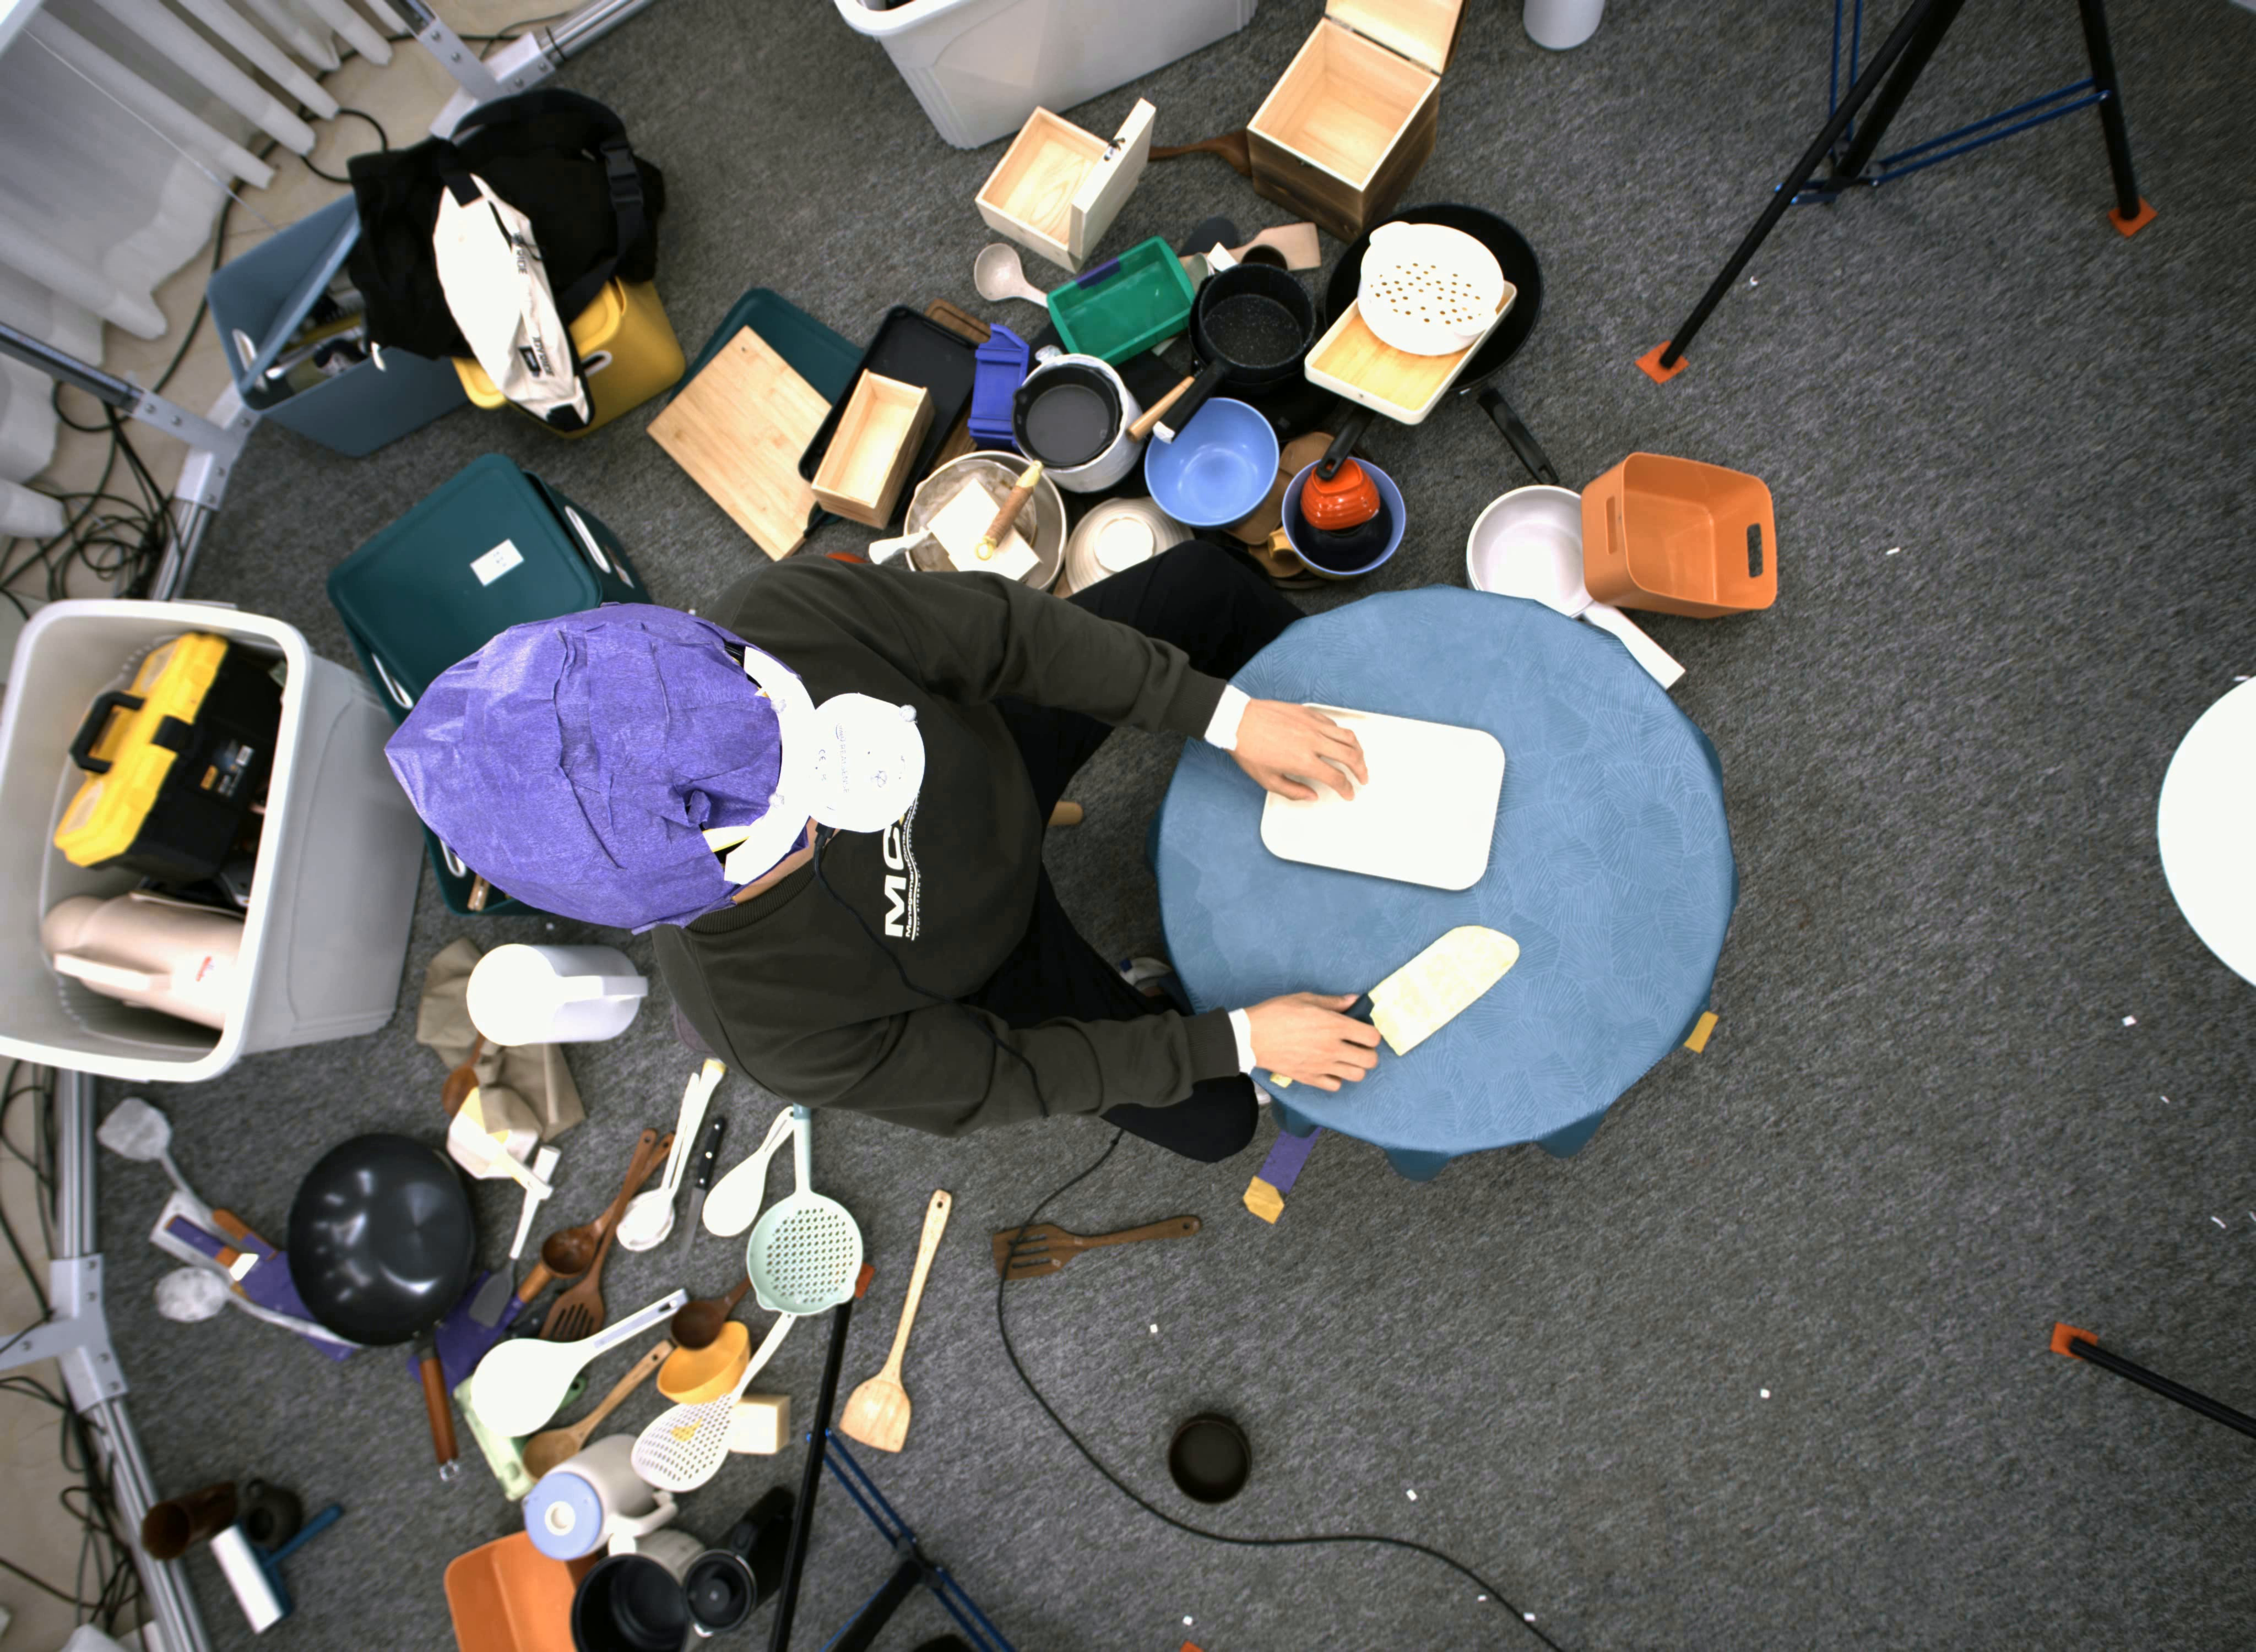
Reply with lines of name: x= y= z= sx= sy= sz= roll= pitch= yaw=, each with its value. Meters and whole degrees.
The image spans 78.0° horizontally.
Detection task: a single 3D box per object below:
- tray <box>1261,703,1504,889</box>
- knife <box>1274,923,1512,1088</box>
tray: x=0.268 y=-0.034 z=1.457 sx=0.240 sy=0.017 sz=0.171 roll=11 pitch=89 yaw=11
knife: x=0.280 y=0.194 z=1.444 sx=0.291 sy=0.027 sz=0.080 roll=-35 pitch=80 yaw=6
